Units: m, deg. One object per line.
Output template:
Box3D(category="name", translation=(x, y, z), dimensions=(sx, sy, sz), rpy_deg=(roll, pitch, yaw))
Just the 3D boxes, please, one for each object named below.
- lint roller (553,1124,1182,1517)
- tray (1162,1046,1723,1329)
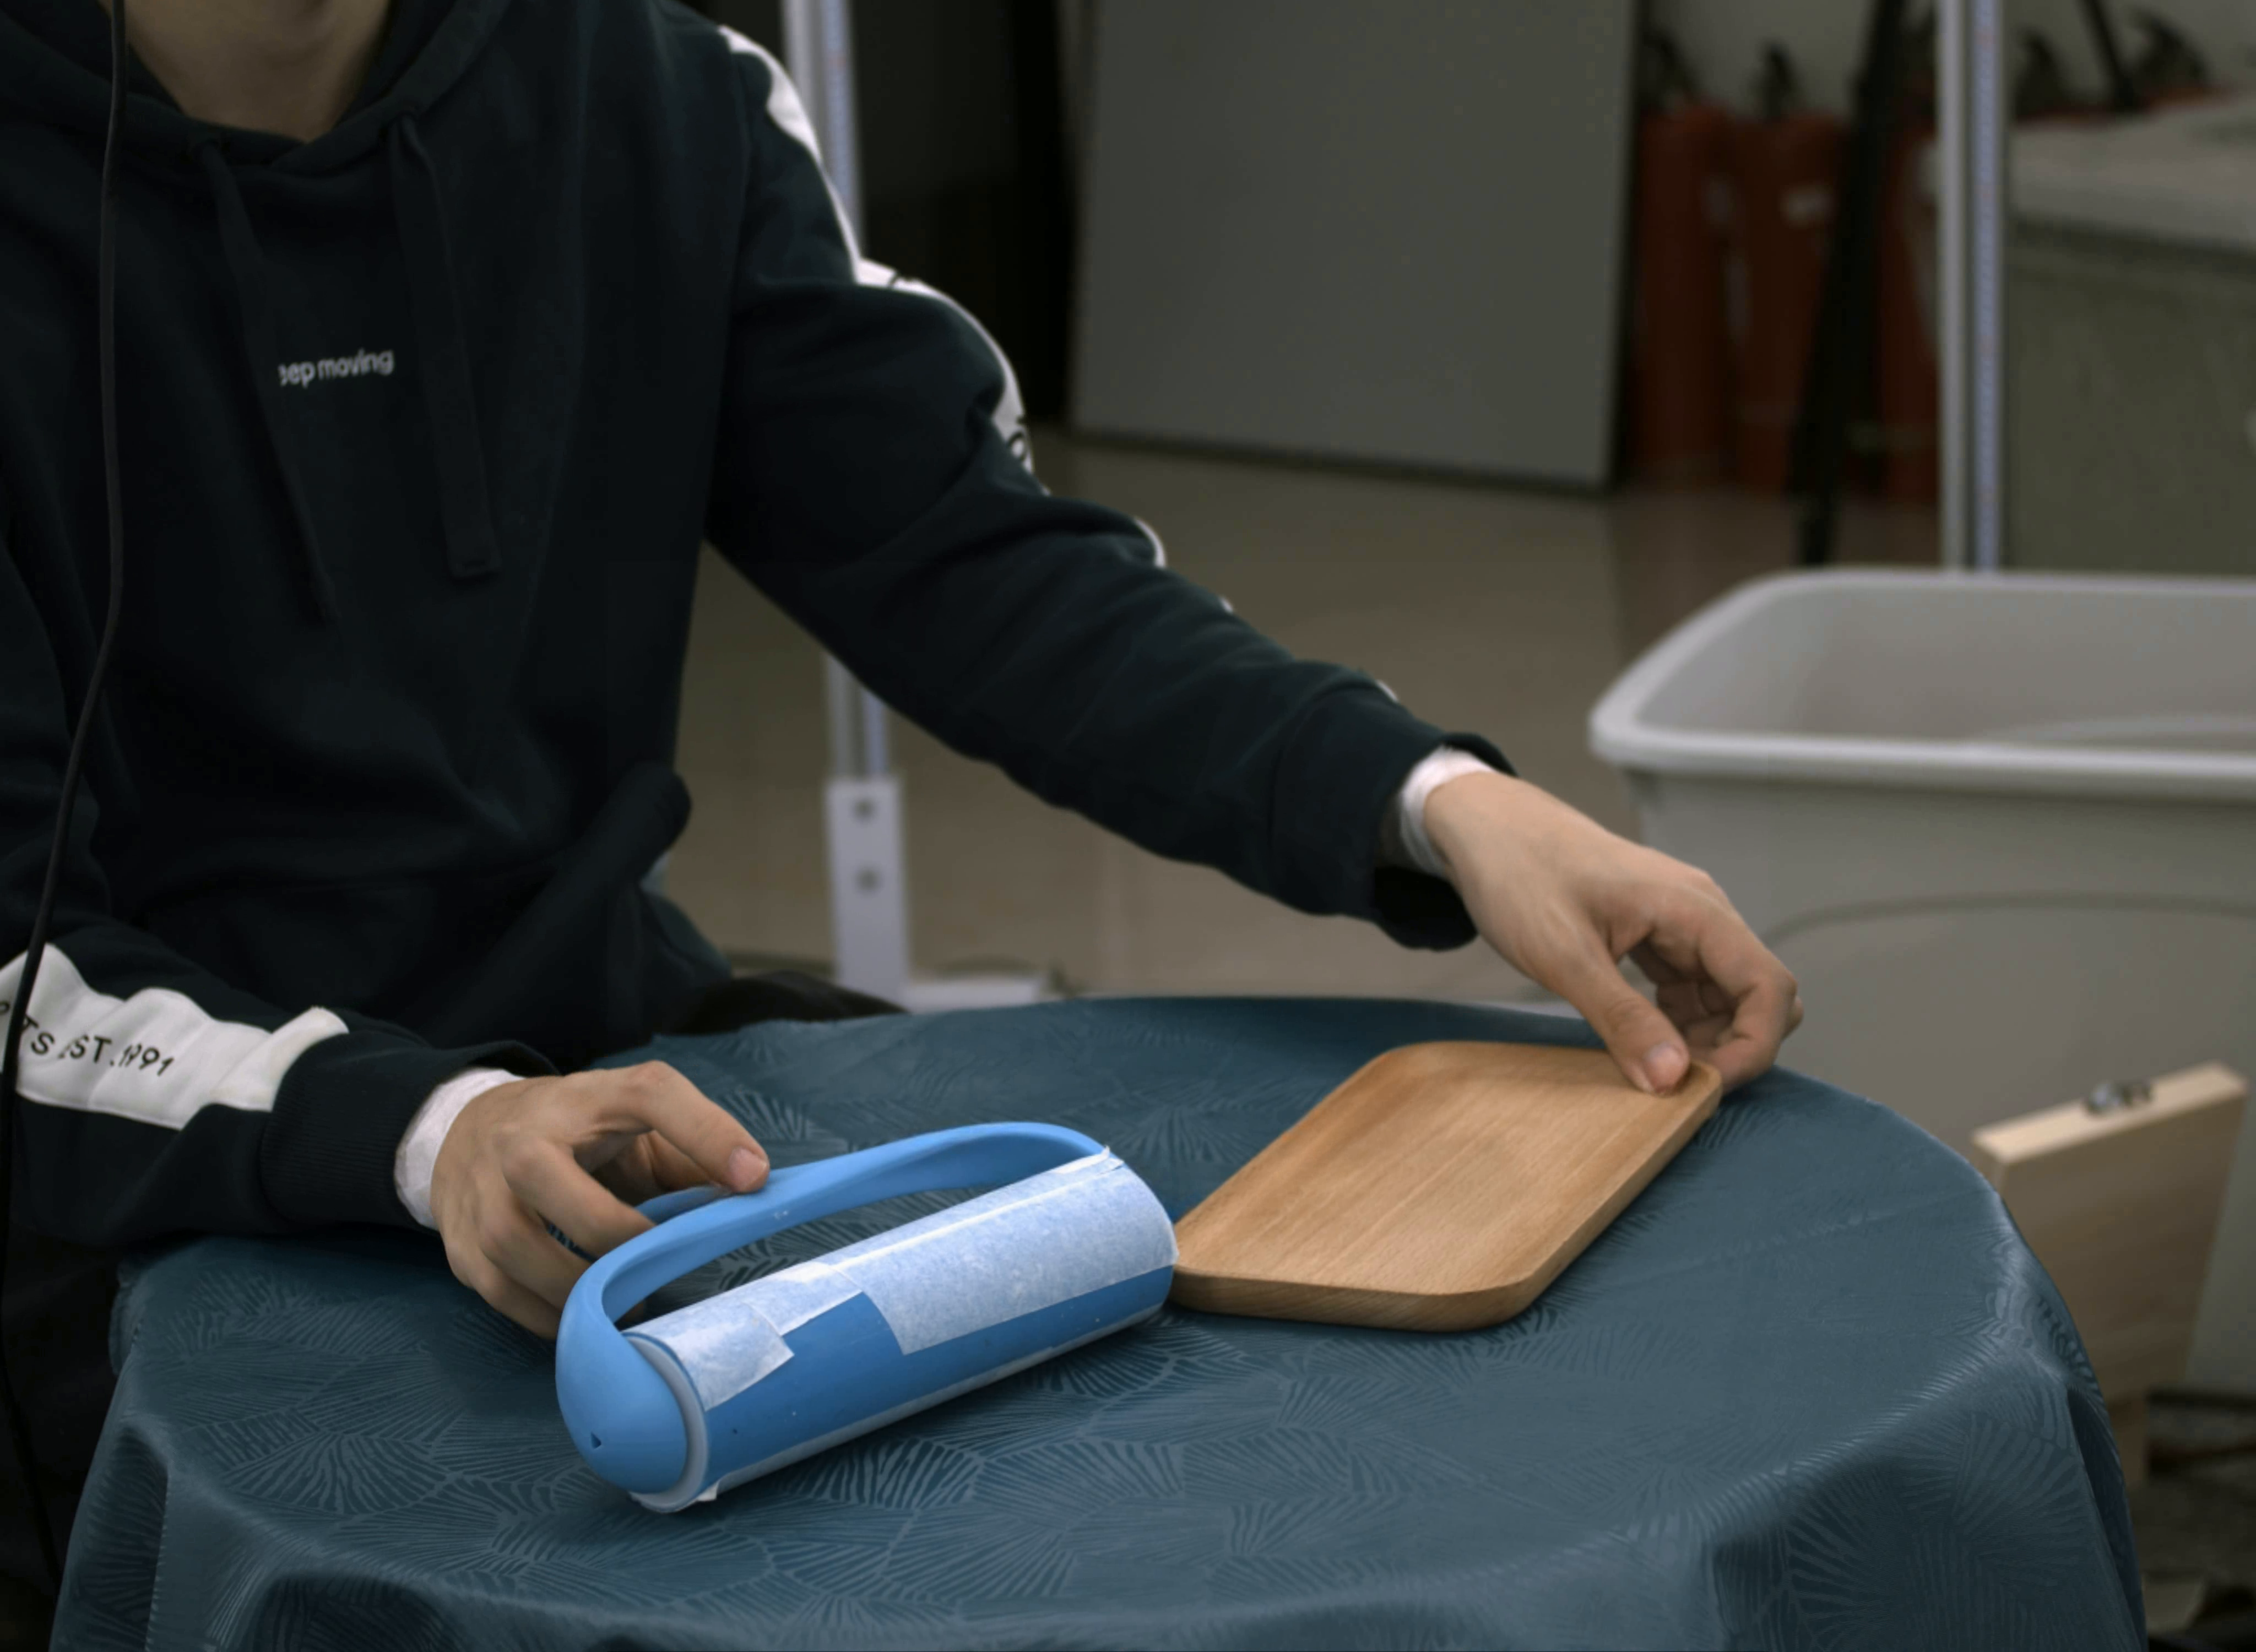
Box3D(category="lint roller", translation=(-0.112, 0.138, 1.616), dimensions=(0.182, 0.068, 0.224), rpy_deg=(9, 20, 41))
Box3D(category="tray", translation=(0.102, 0.114, 1.734), dimensions=(0.131, 0.023, 0.247), rpy_deg=(0, 15, 25))
